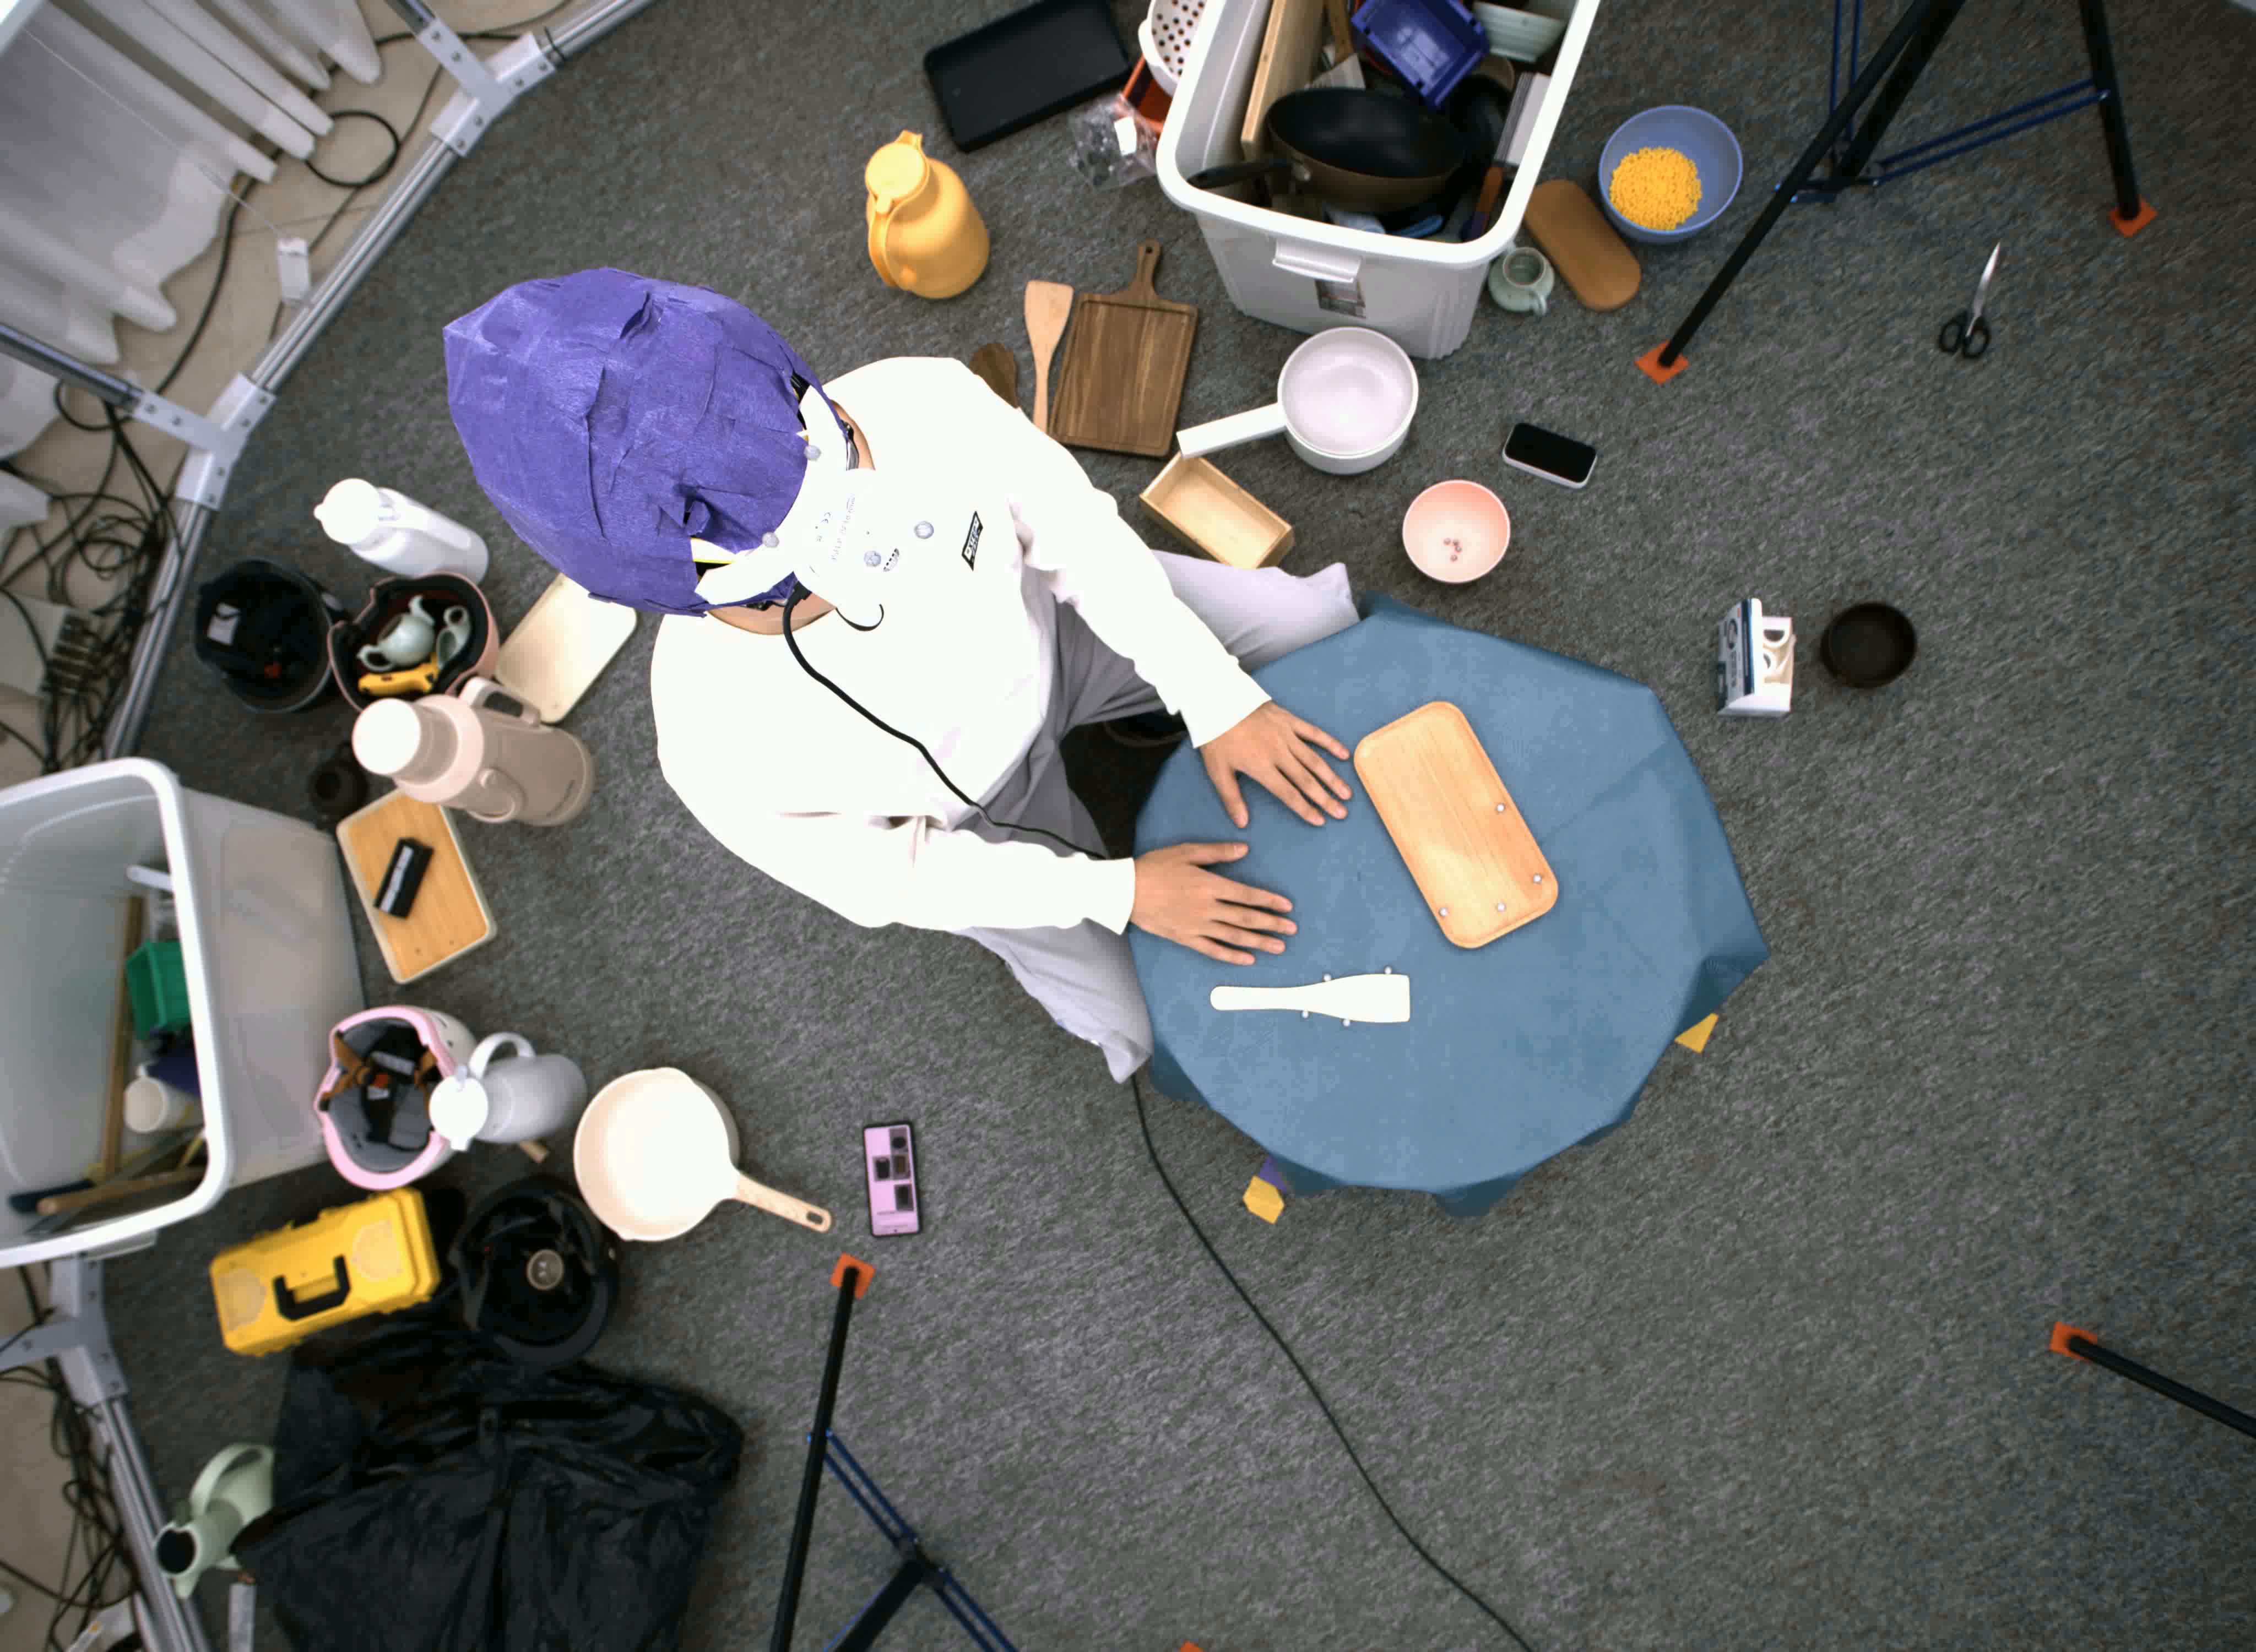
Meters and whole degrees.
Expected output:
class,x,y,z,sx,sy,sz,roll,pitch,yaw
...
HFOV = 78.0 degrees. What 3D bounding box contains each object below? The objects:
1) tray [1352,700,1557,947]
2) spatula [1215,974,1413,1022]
class,x,y,z,sx,sy,sz,roll,pitch,yaw
tray,0.340,-0.006,1.441,0.131,0.023,0.249,-28,82,6
spatula,0.196,0.179,1.463,0.208,0.005,0.050,0,86,10
